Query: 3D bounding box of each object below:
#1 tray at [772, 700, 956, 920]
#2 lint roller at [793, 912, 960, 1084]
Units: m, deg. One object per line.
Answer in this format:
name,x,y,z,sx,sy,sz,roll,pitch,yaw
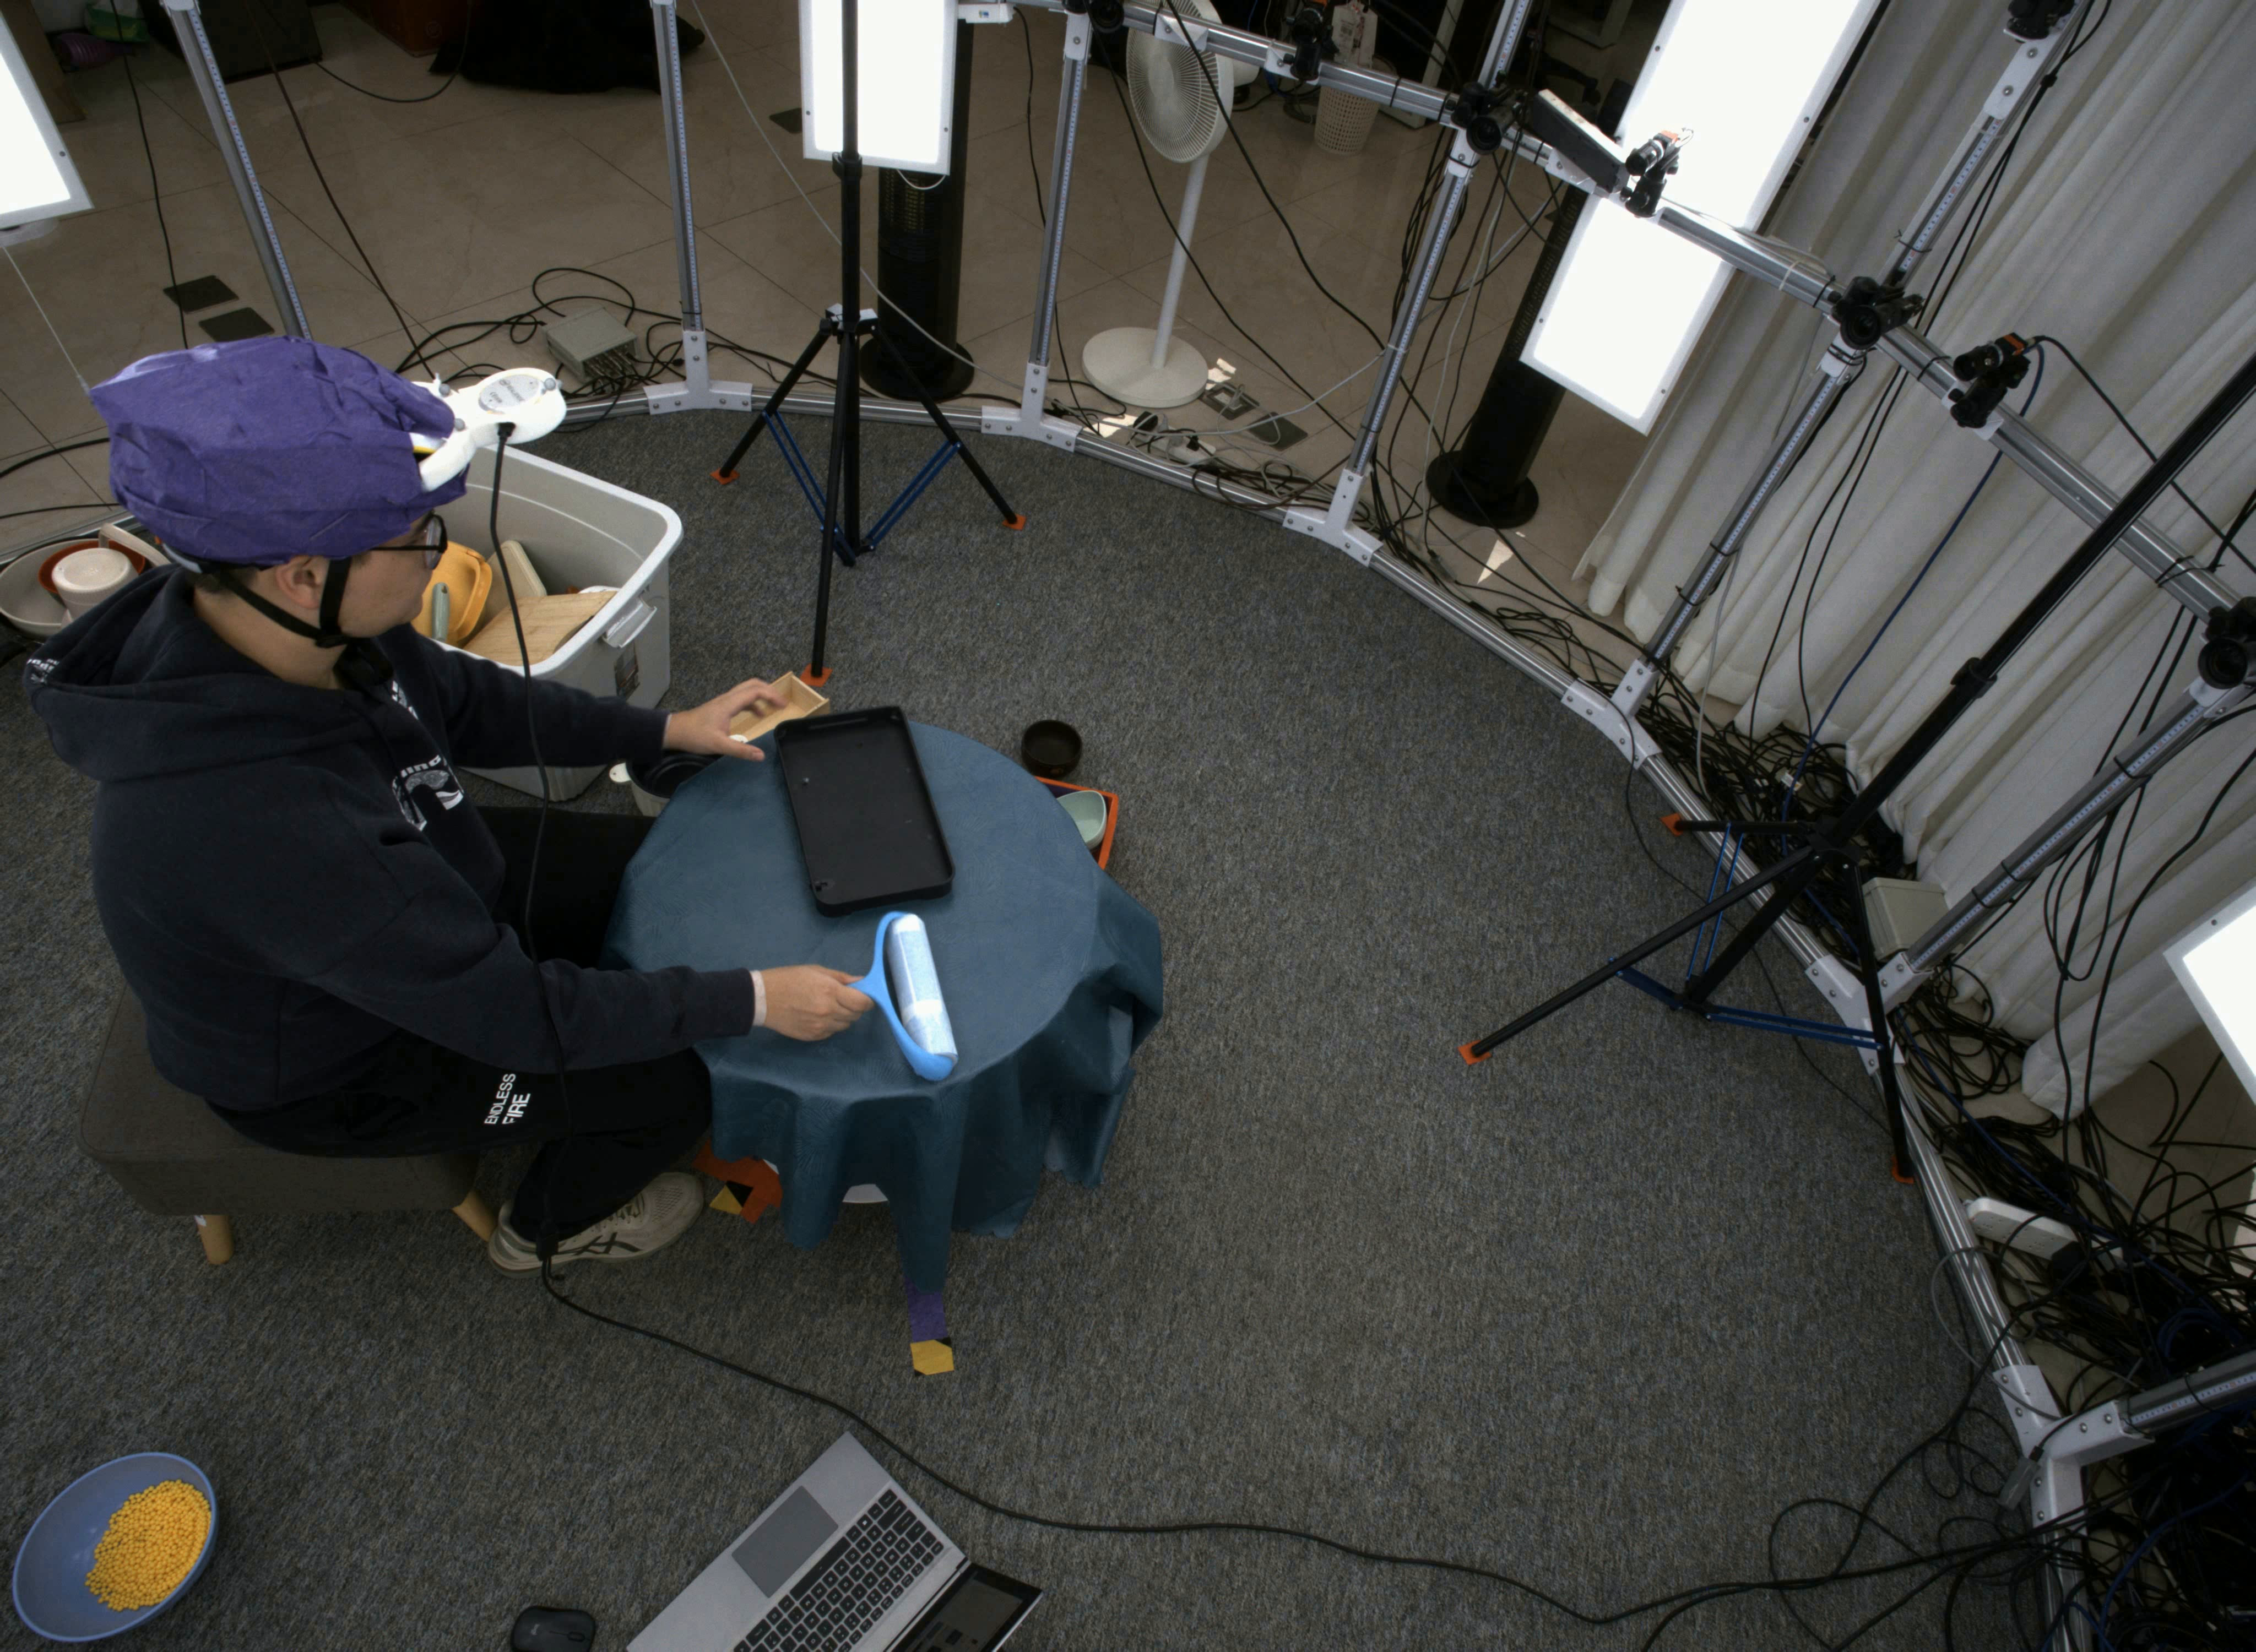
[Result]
tray,-0.356,-0.029,1.739,0.185,0.038,0.311,-11,60,-21
lint roller,-0.303,0.206,1.542,0.182,0.068,0.224,-3,57,-29
